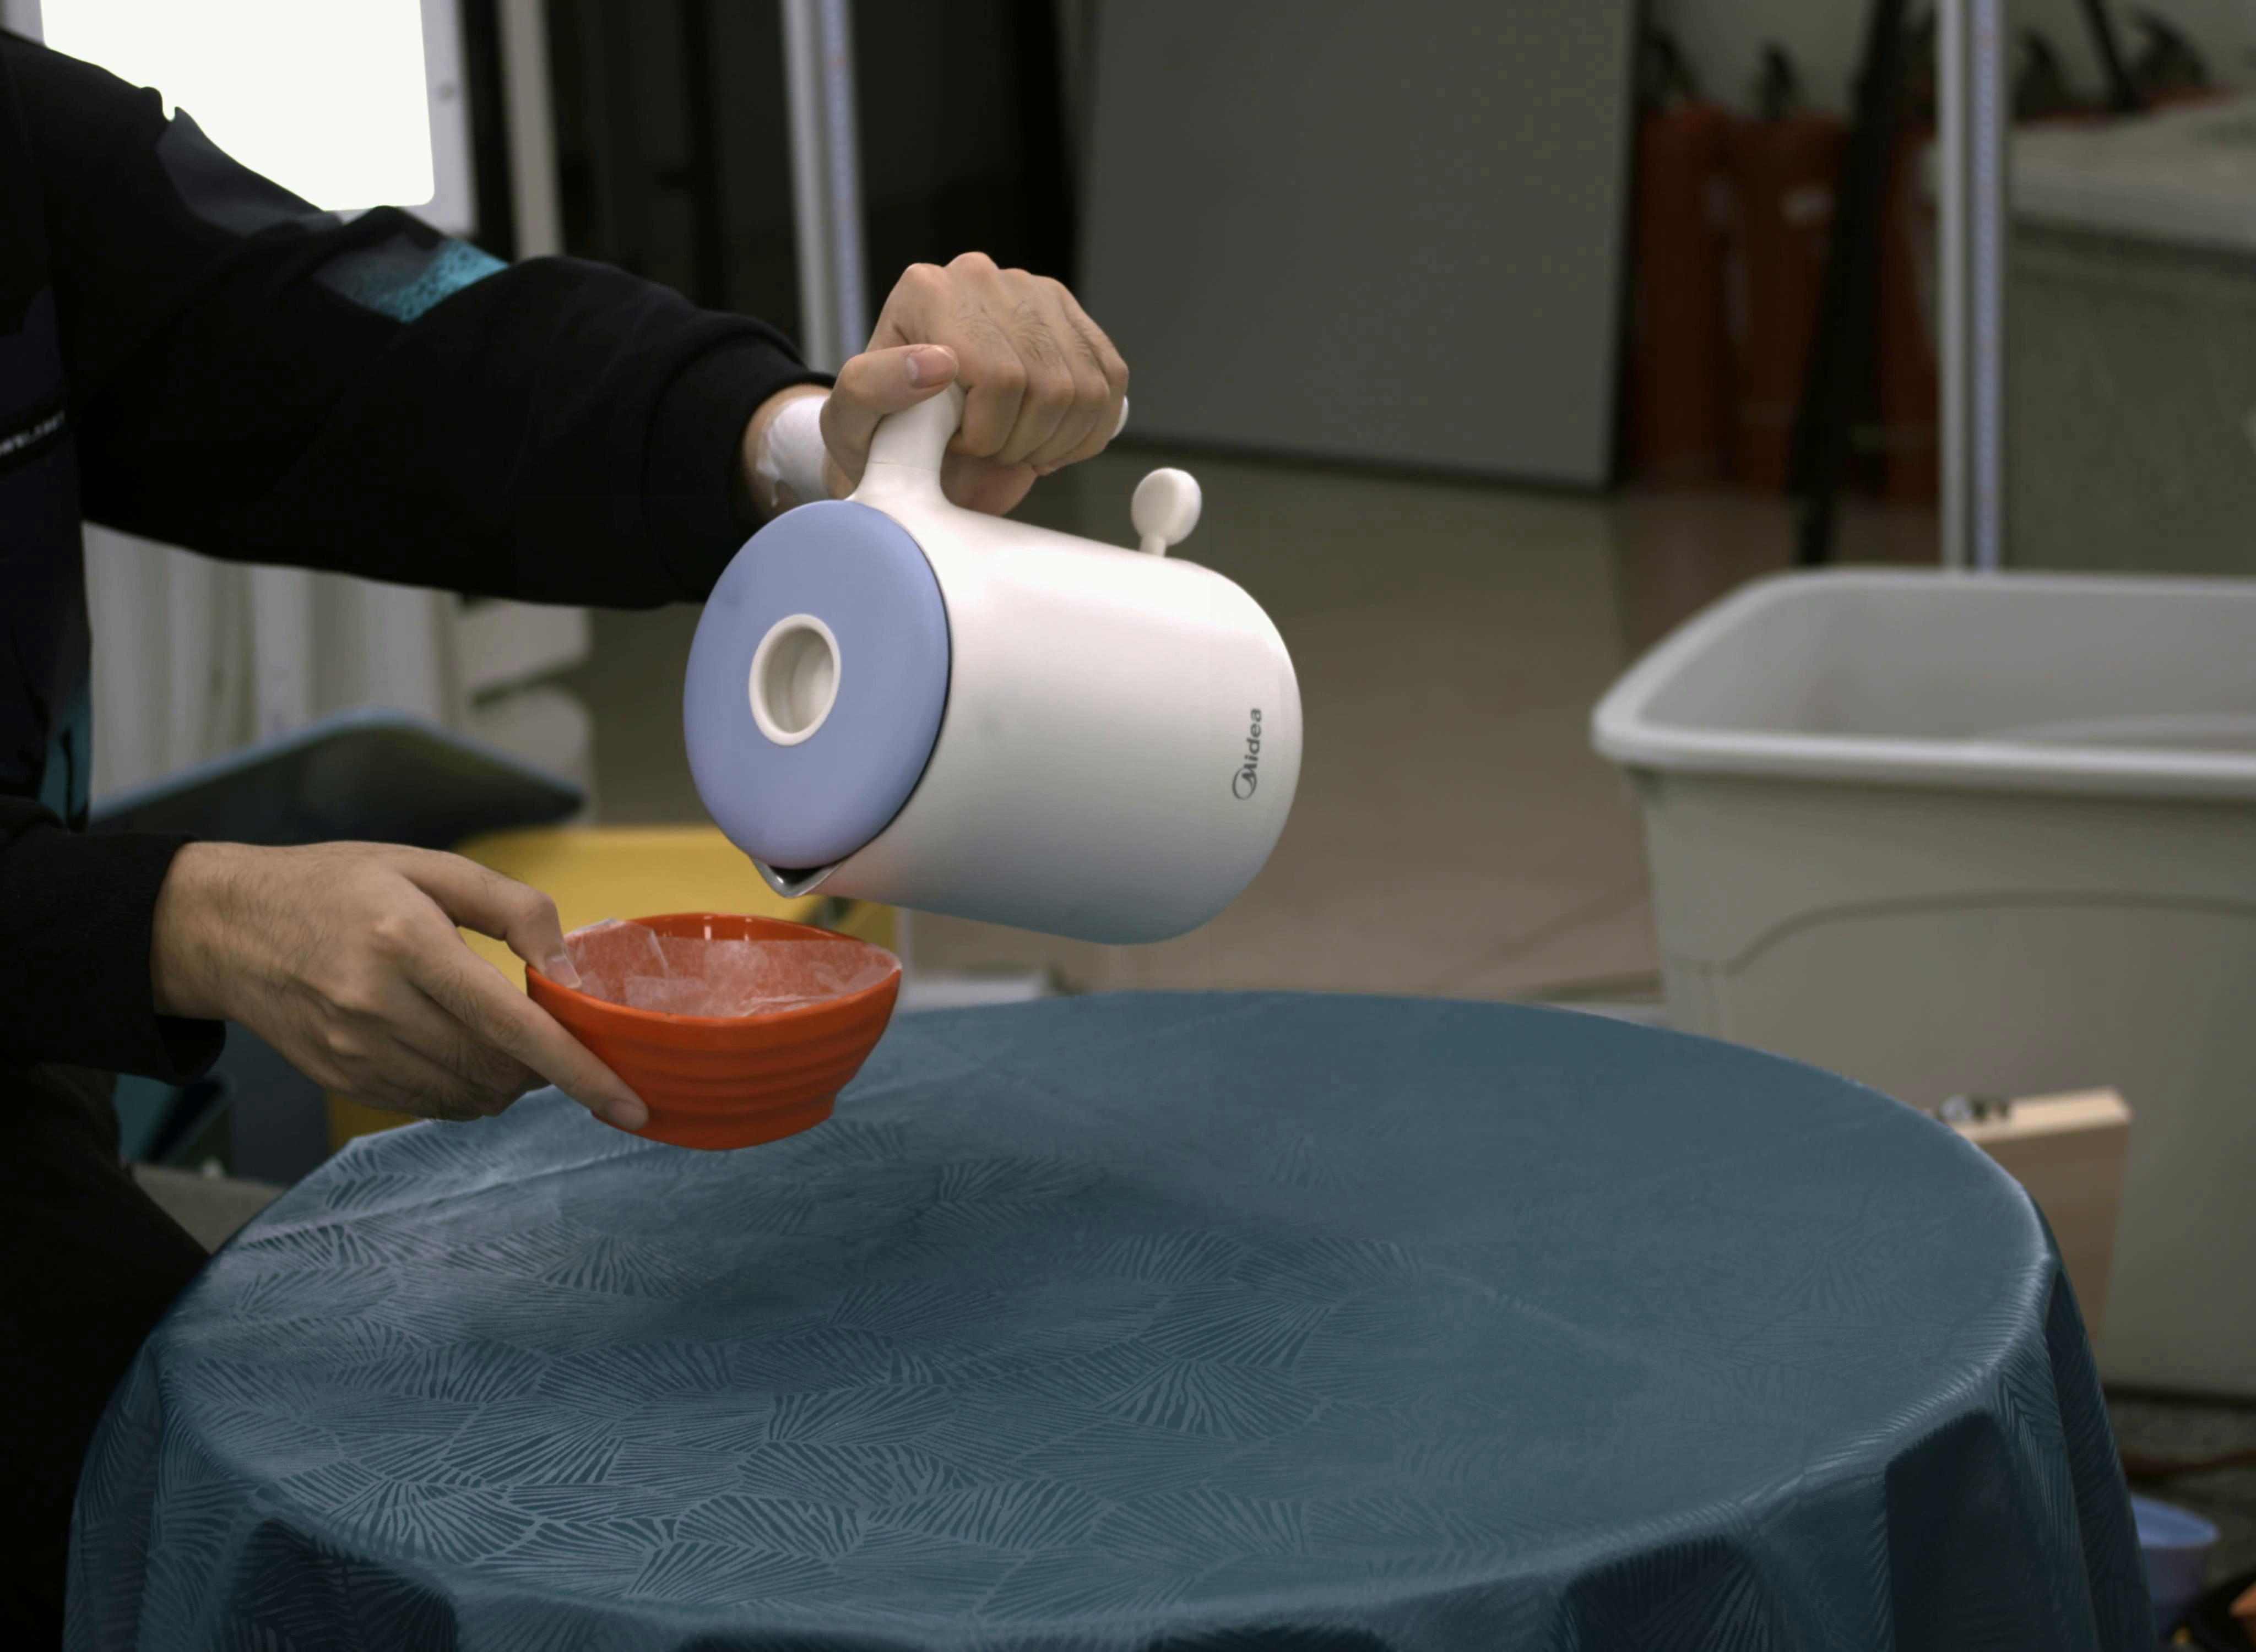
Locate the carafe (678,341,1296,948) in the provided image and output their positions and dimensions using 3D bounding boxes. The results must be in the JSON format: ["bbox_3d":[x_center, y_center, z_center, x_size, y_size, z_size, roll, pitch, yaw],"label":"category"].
[{"bbox_3d":[-0.042,-0.060,1.754,0.133,0.193,0.178,1,-9,44],"label":"carafe"}]

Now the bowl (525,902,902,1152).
[{"bbox_3d":[-0.130,0.065,1.692,0.117,0.052,0.119,1,17,-1],"label":"bowl"}]
